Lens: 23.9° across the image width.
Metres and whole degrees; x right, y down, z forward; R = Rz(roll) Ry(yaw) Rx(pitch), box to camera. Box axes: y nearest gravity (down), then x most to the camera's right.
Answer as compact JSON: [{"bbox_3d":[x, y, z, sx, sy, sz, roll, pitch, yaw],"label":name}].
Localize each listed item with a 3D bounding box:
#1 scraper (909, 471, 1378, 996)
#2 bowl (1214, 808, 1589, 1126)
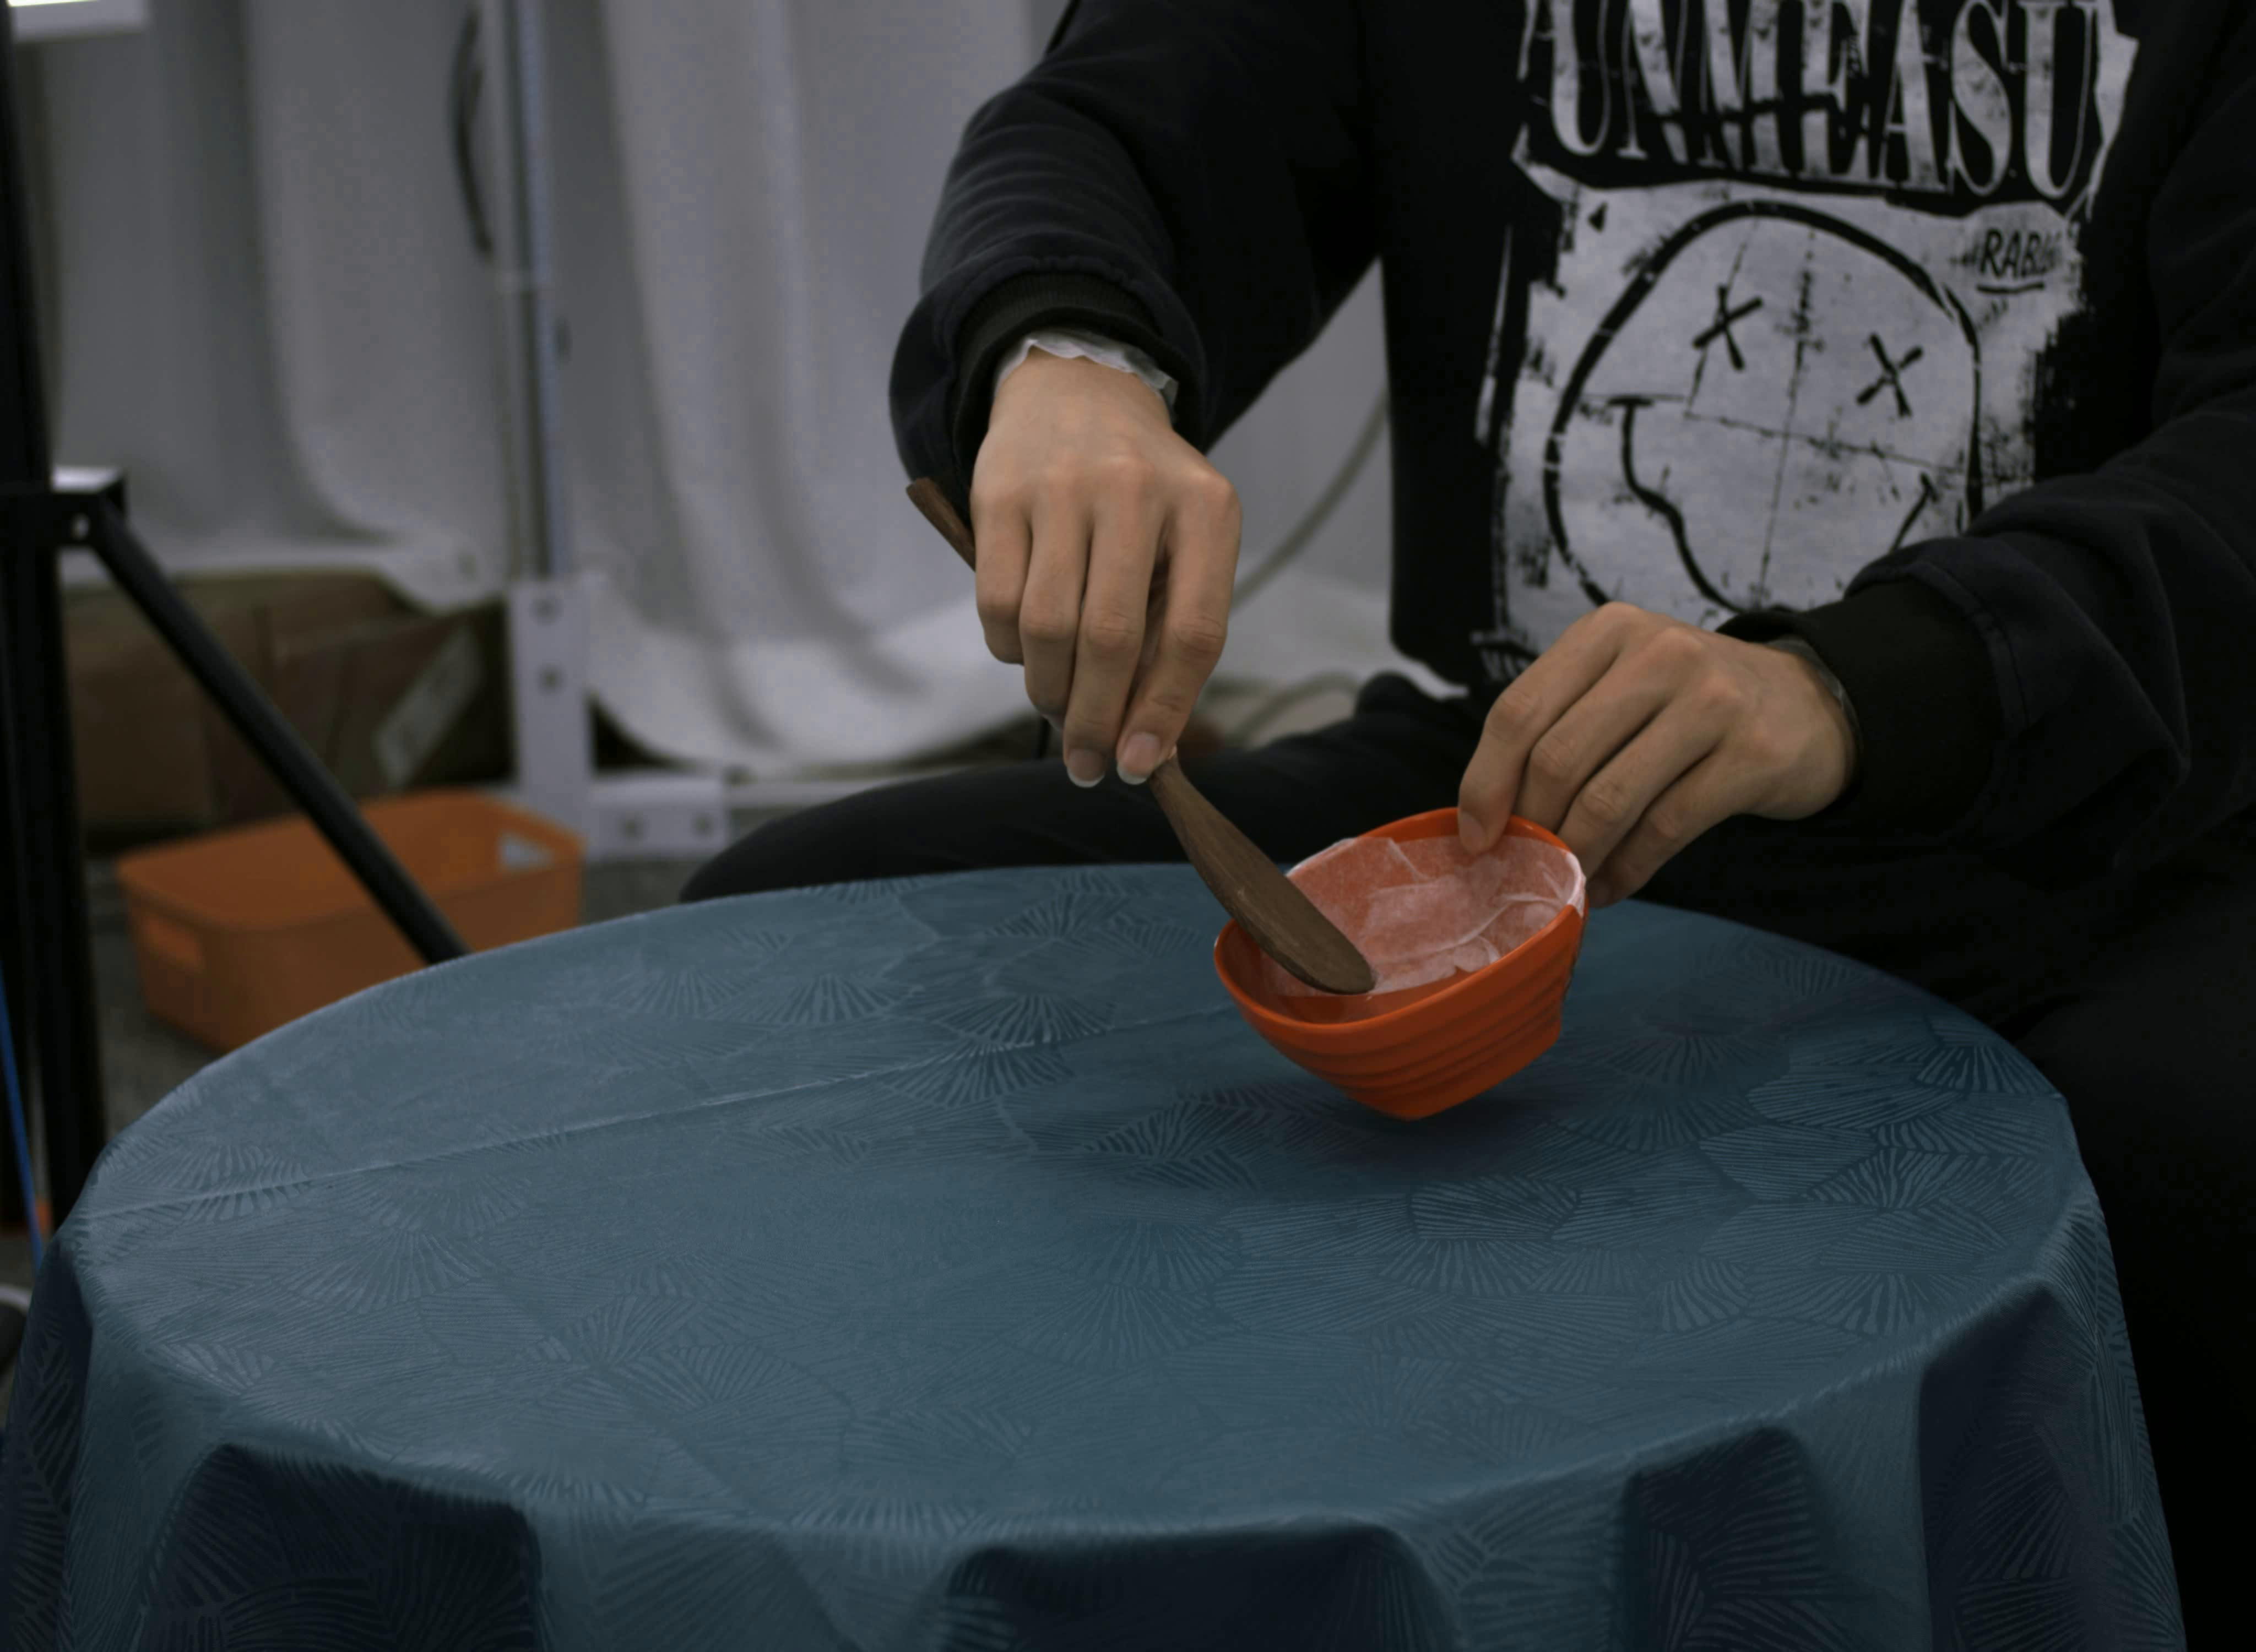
[{"bbox_3d":[0.002,-0.028,1.611,0.011,0.213,0.074,-42,-13,13],"label":"scraper"},{"bbox_3d":[0.089,0.048,1.602,0.119,0.051,0.120,-19,27,9],"label":"bowl"}]
